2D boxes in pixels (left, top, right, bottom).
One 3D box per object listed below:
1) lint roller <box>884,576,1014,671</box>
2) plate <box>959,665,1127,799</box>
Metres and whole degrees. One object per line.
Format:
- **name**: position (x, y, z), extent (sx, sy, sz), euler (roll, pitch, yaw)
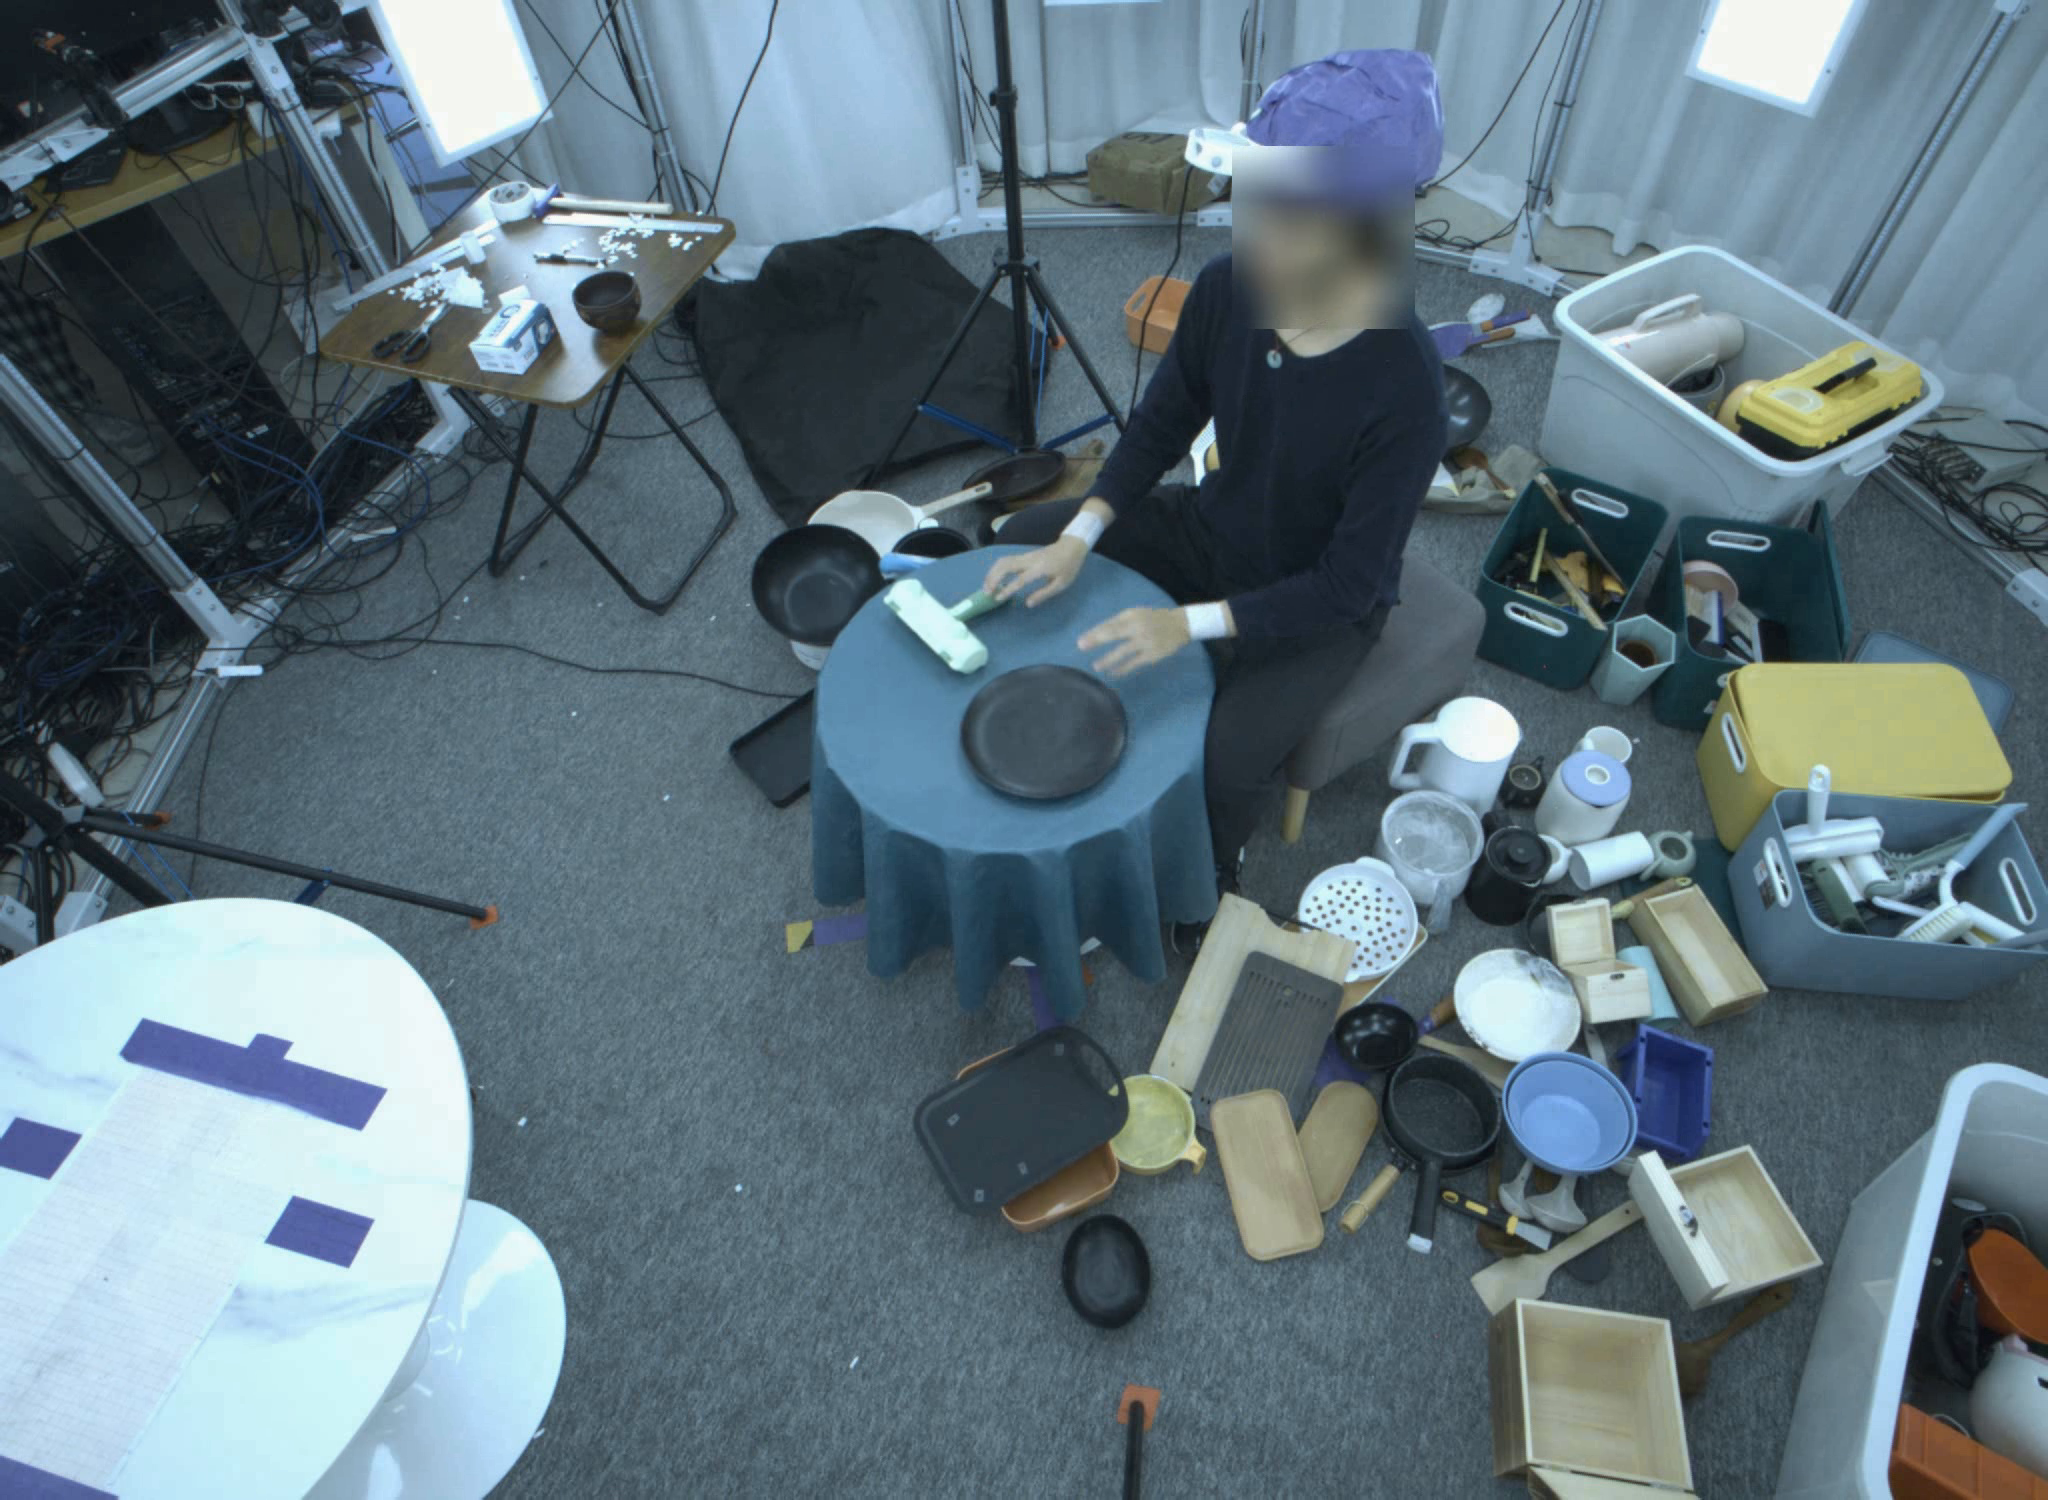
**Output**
- **lint roller**: position (-0.092, -0.232, 1.901), extent (0.184, 0.083, 0.195), euler (-39, 63, -15)
- **plate**: position (0.028, -0.024, 1.789), extent (0.244, 0.024, 0.242), euler (0, 55, 2)
